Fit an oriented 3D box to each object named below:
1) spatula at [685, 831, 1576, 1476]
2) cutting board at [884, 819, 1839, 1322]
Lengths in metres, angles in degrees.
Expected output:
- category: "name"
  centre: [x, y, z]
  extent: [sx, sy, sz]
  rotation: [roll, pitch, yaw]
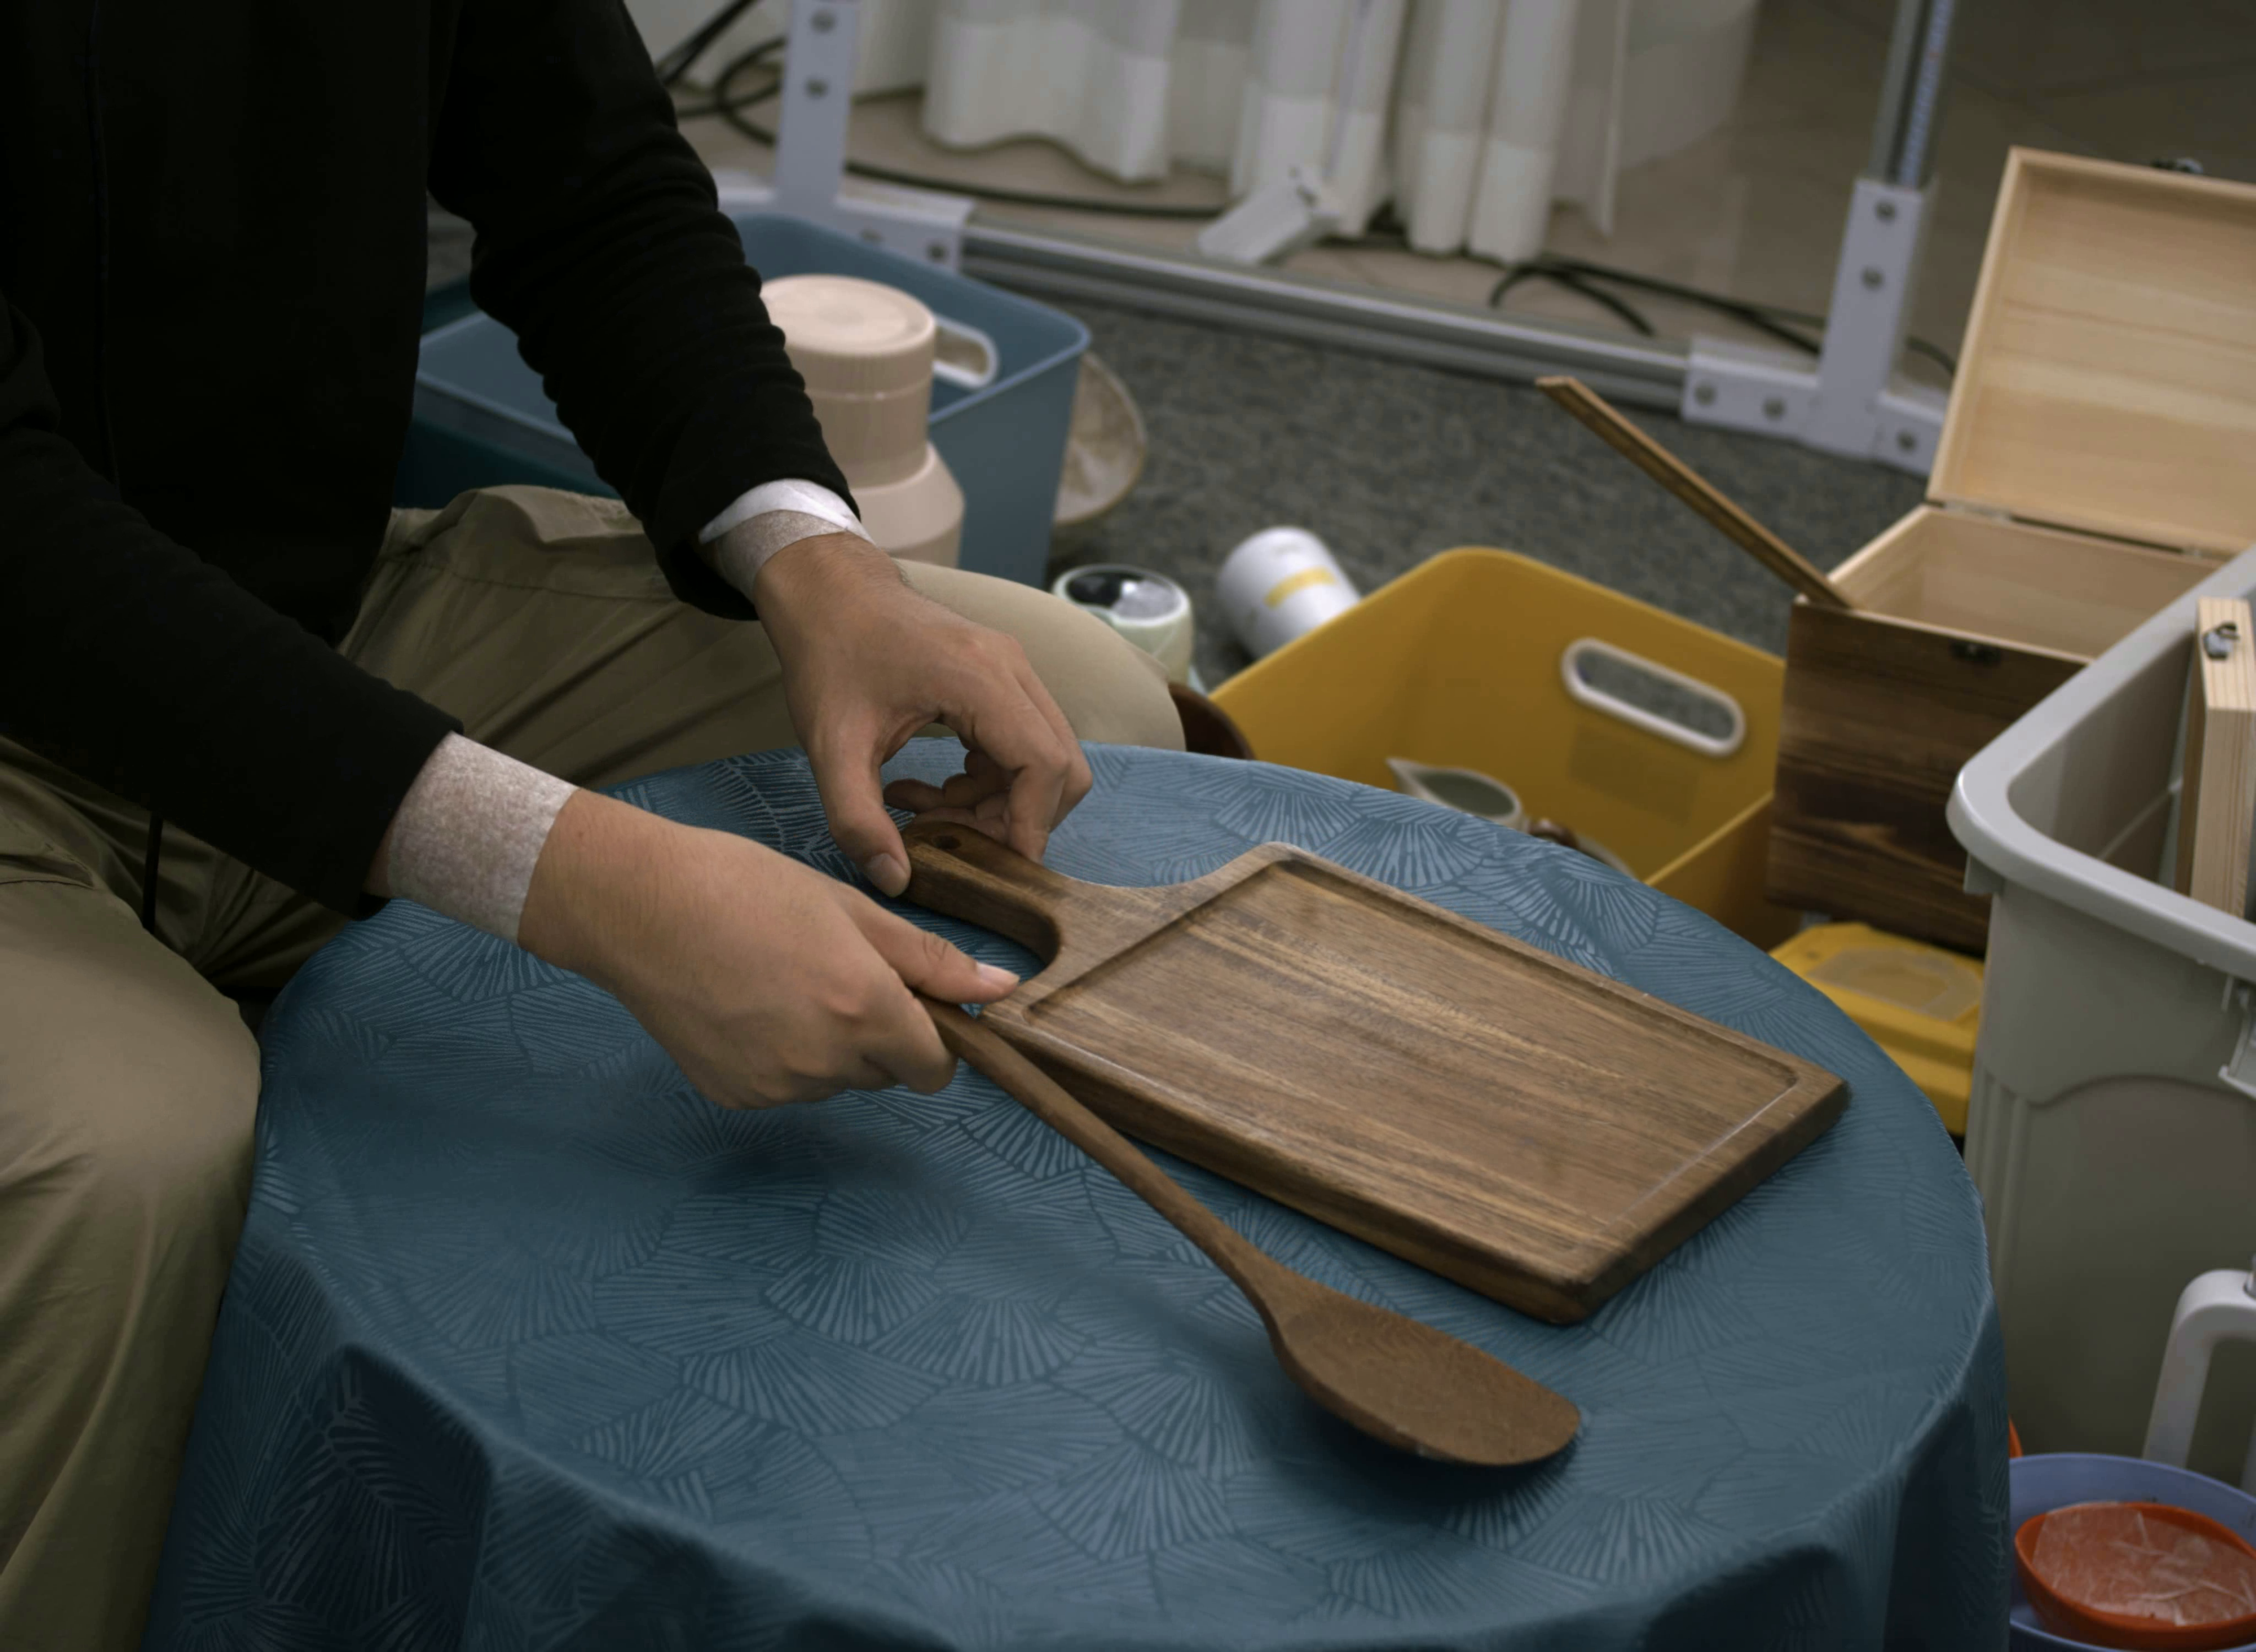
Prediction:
- category: "spatula"
  centre: [-0.012, 0.101, 1.751]
  extent: [0.389, 0.016, 0.095]
  rotation: [36, 23, 29]
- category: "cutting board"
  centre: [0.059, 0.067, 1.900]
  extent: [0.354, 0.023, 0.200]
  rotation: [23, 31, 28]
